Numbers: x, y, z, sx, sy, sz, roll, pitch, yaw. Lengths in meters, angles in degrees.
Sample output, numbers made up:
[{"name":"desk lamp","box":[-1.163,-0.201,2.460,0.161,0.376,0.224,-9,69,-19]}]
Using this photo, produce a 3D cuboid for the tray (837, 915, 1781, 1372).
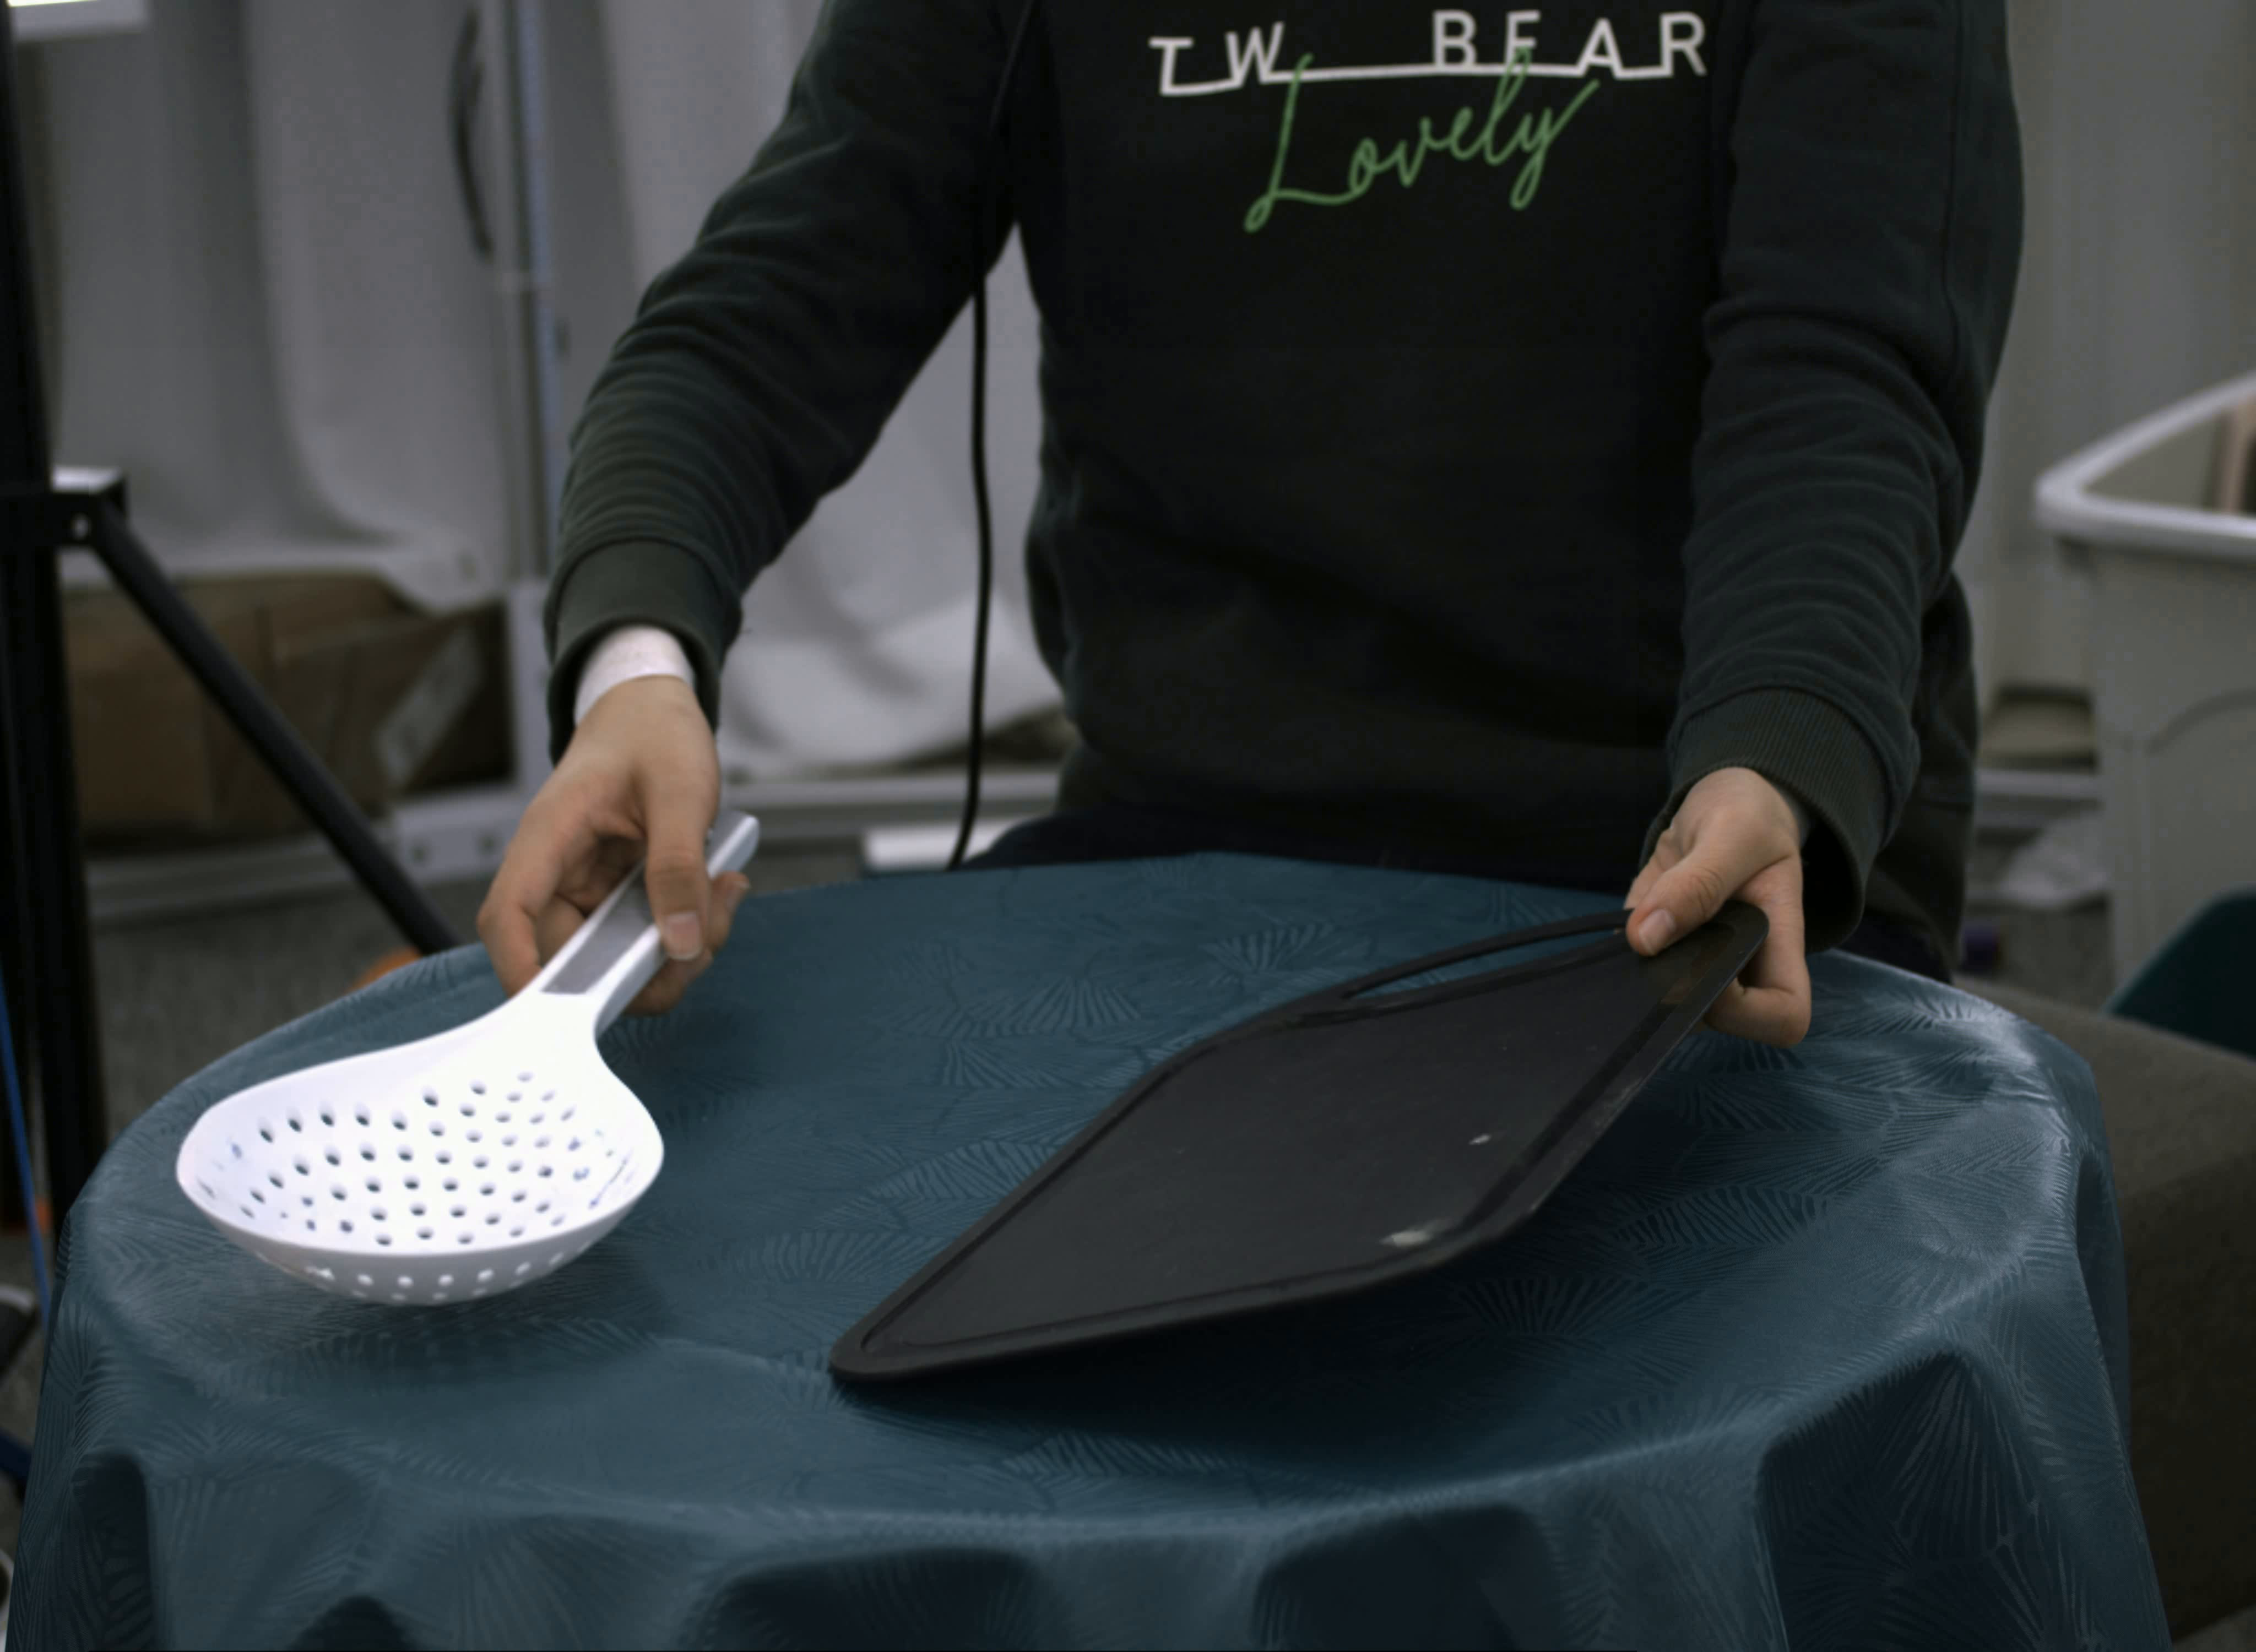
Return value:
[{"name":"tray","box":[0.059,0.084,1.503,0.214,0.010,0.321,-13,11,28]}]

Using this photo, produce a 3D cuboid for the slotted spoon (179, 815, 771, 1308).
[{"name":"slotted spoon","box":[-0.172,0.062,1.595,0.137,0.045,0.348,7,26,13]}]
